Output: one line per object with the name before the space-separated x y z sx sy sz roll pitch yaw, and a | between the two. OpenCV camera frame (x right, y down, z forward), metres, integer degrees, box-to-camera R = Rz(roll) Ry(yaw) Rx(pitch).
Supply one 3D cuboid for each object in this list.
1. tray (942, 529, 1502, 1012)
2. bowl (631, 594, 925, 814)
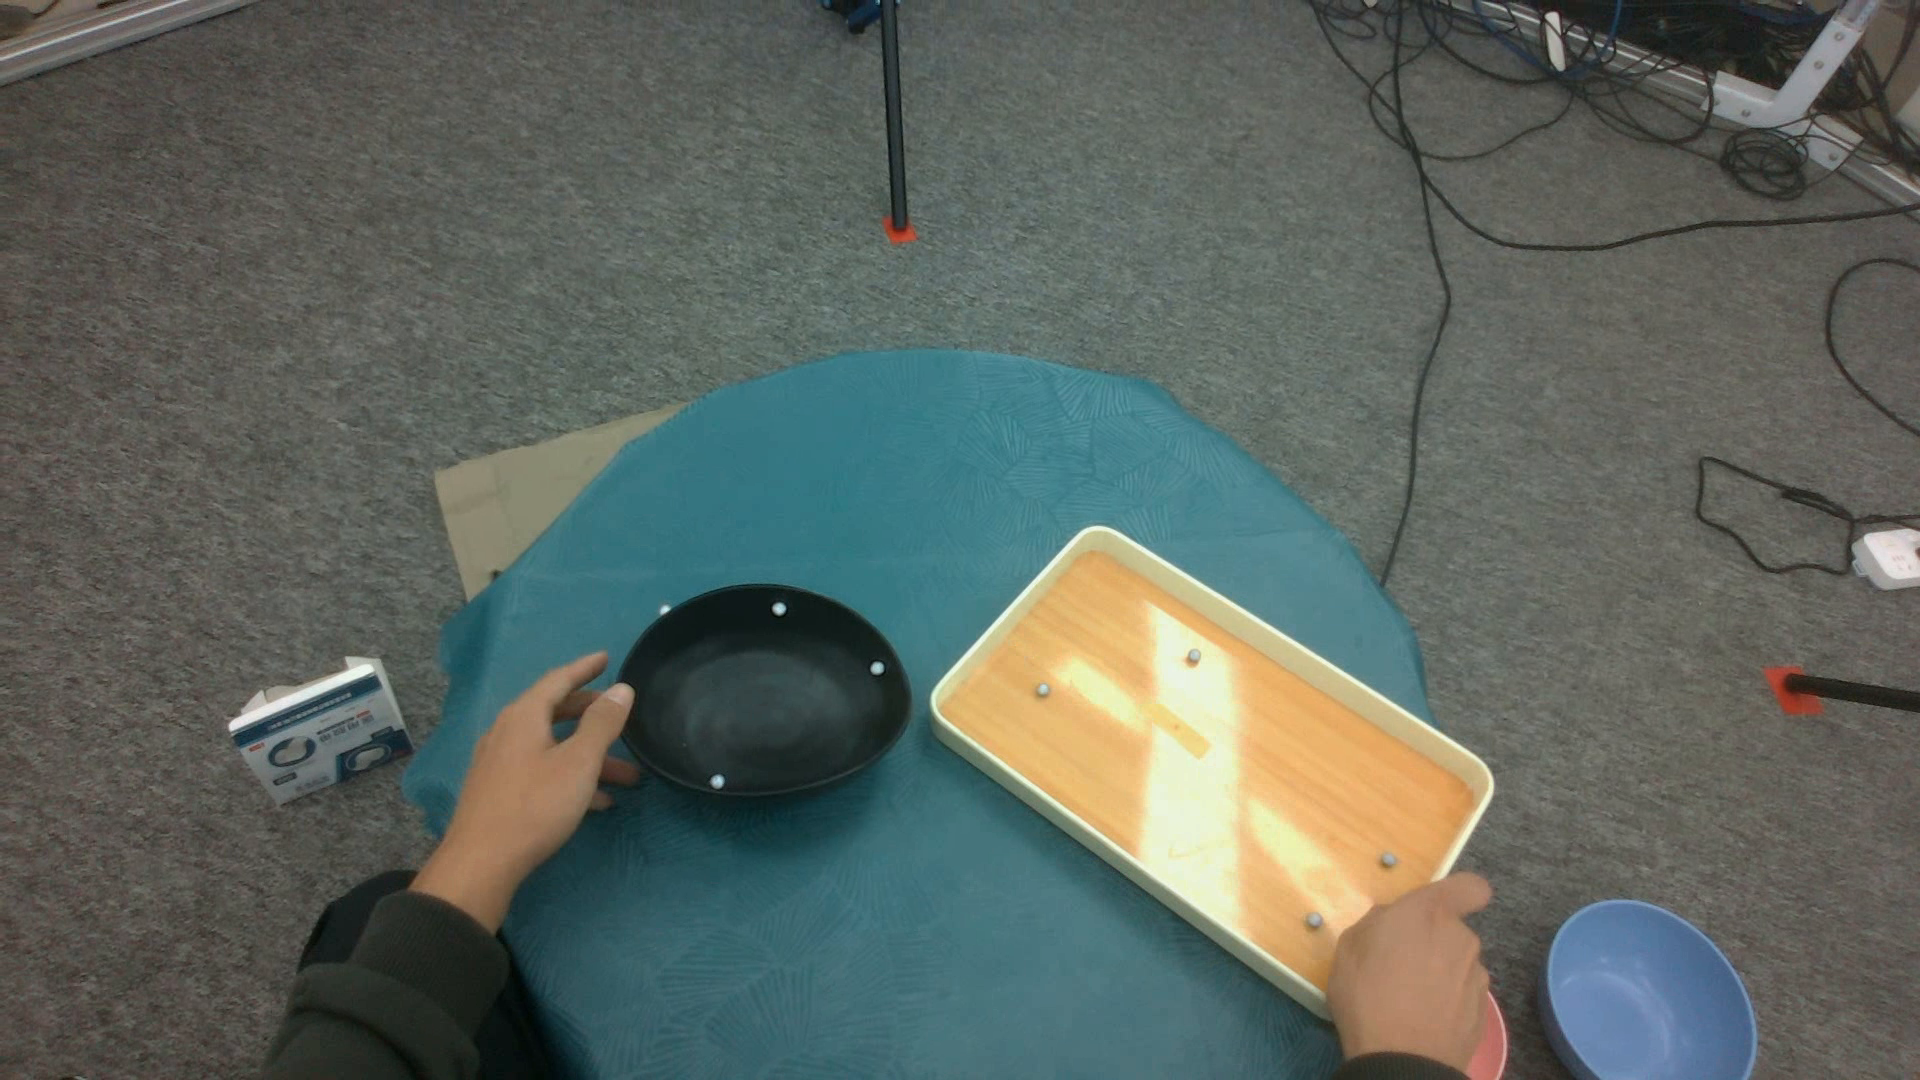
tray | 0.157 0.127 0.844 0.300 0.027 0.192 32 58 20
bowl | -0.107 0.105 0.820 0.170 0.066 0.138 -1 56 -9
